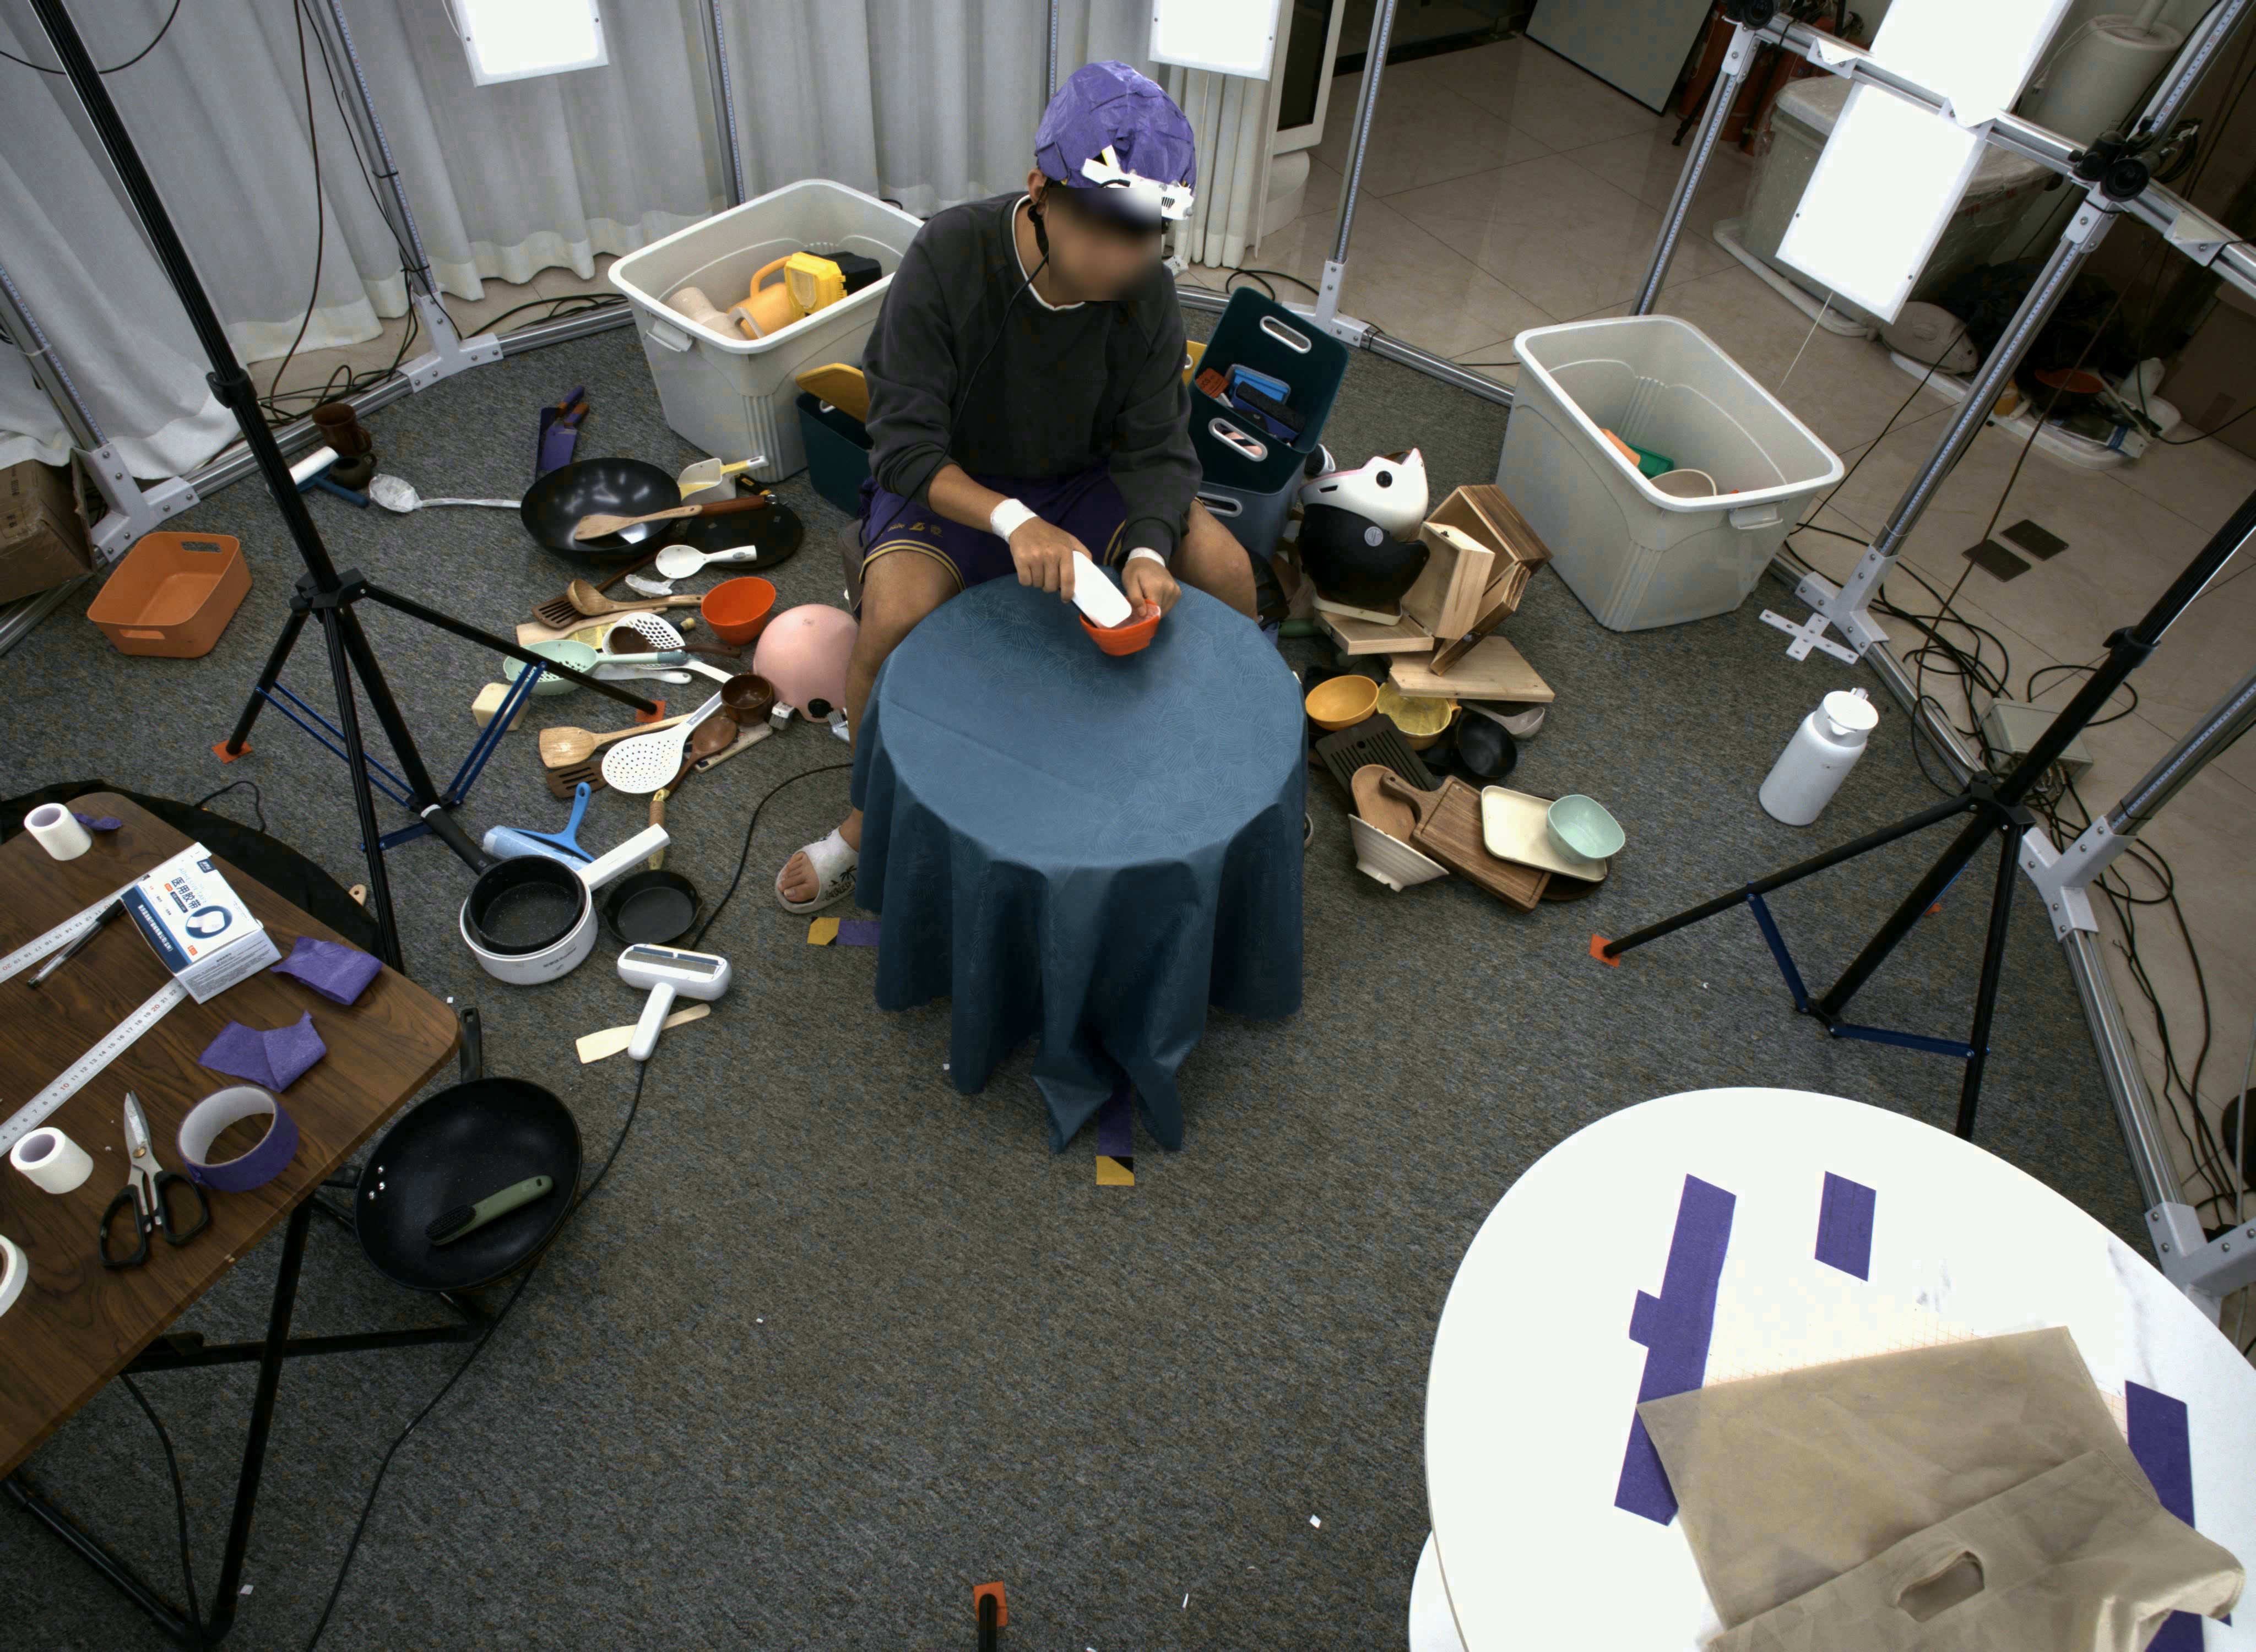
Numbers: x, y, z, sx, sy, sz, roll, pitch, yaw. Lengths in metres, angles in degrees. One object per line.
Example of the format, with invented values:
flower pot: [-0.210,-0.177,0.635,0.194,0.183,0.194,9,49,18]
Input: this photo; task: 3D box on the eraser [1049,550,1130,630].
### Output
eraser: [-0.055,-0.340,1.854,0.064,0.034,0.132,-35,81,-33]

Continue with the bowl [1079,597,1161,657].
bowl: [-0.008,-0.283,1.843,0.119,0.050,0.121,-7,31,4]
